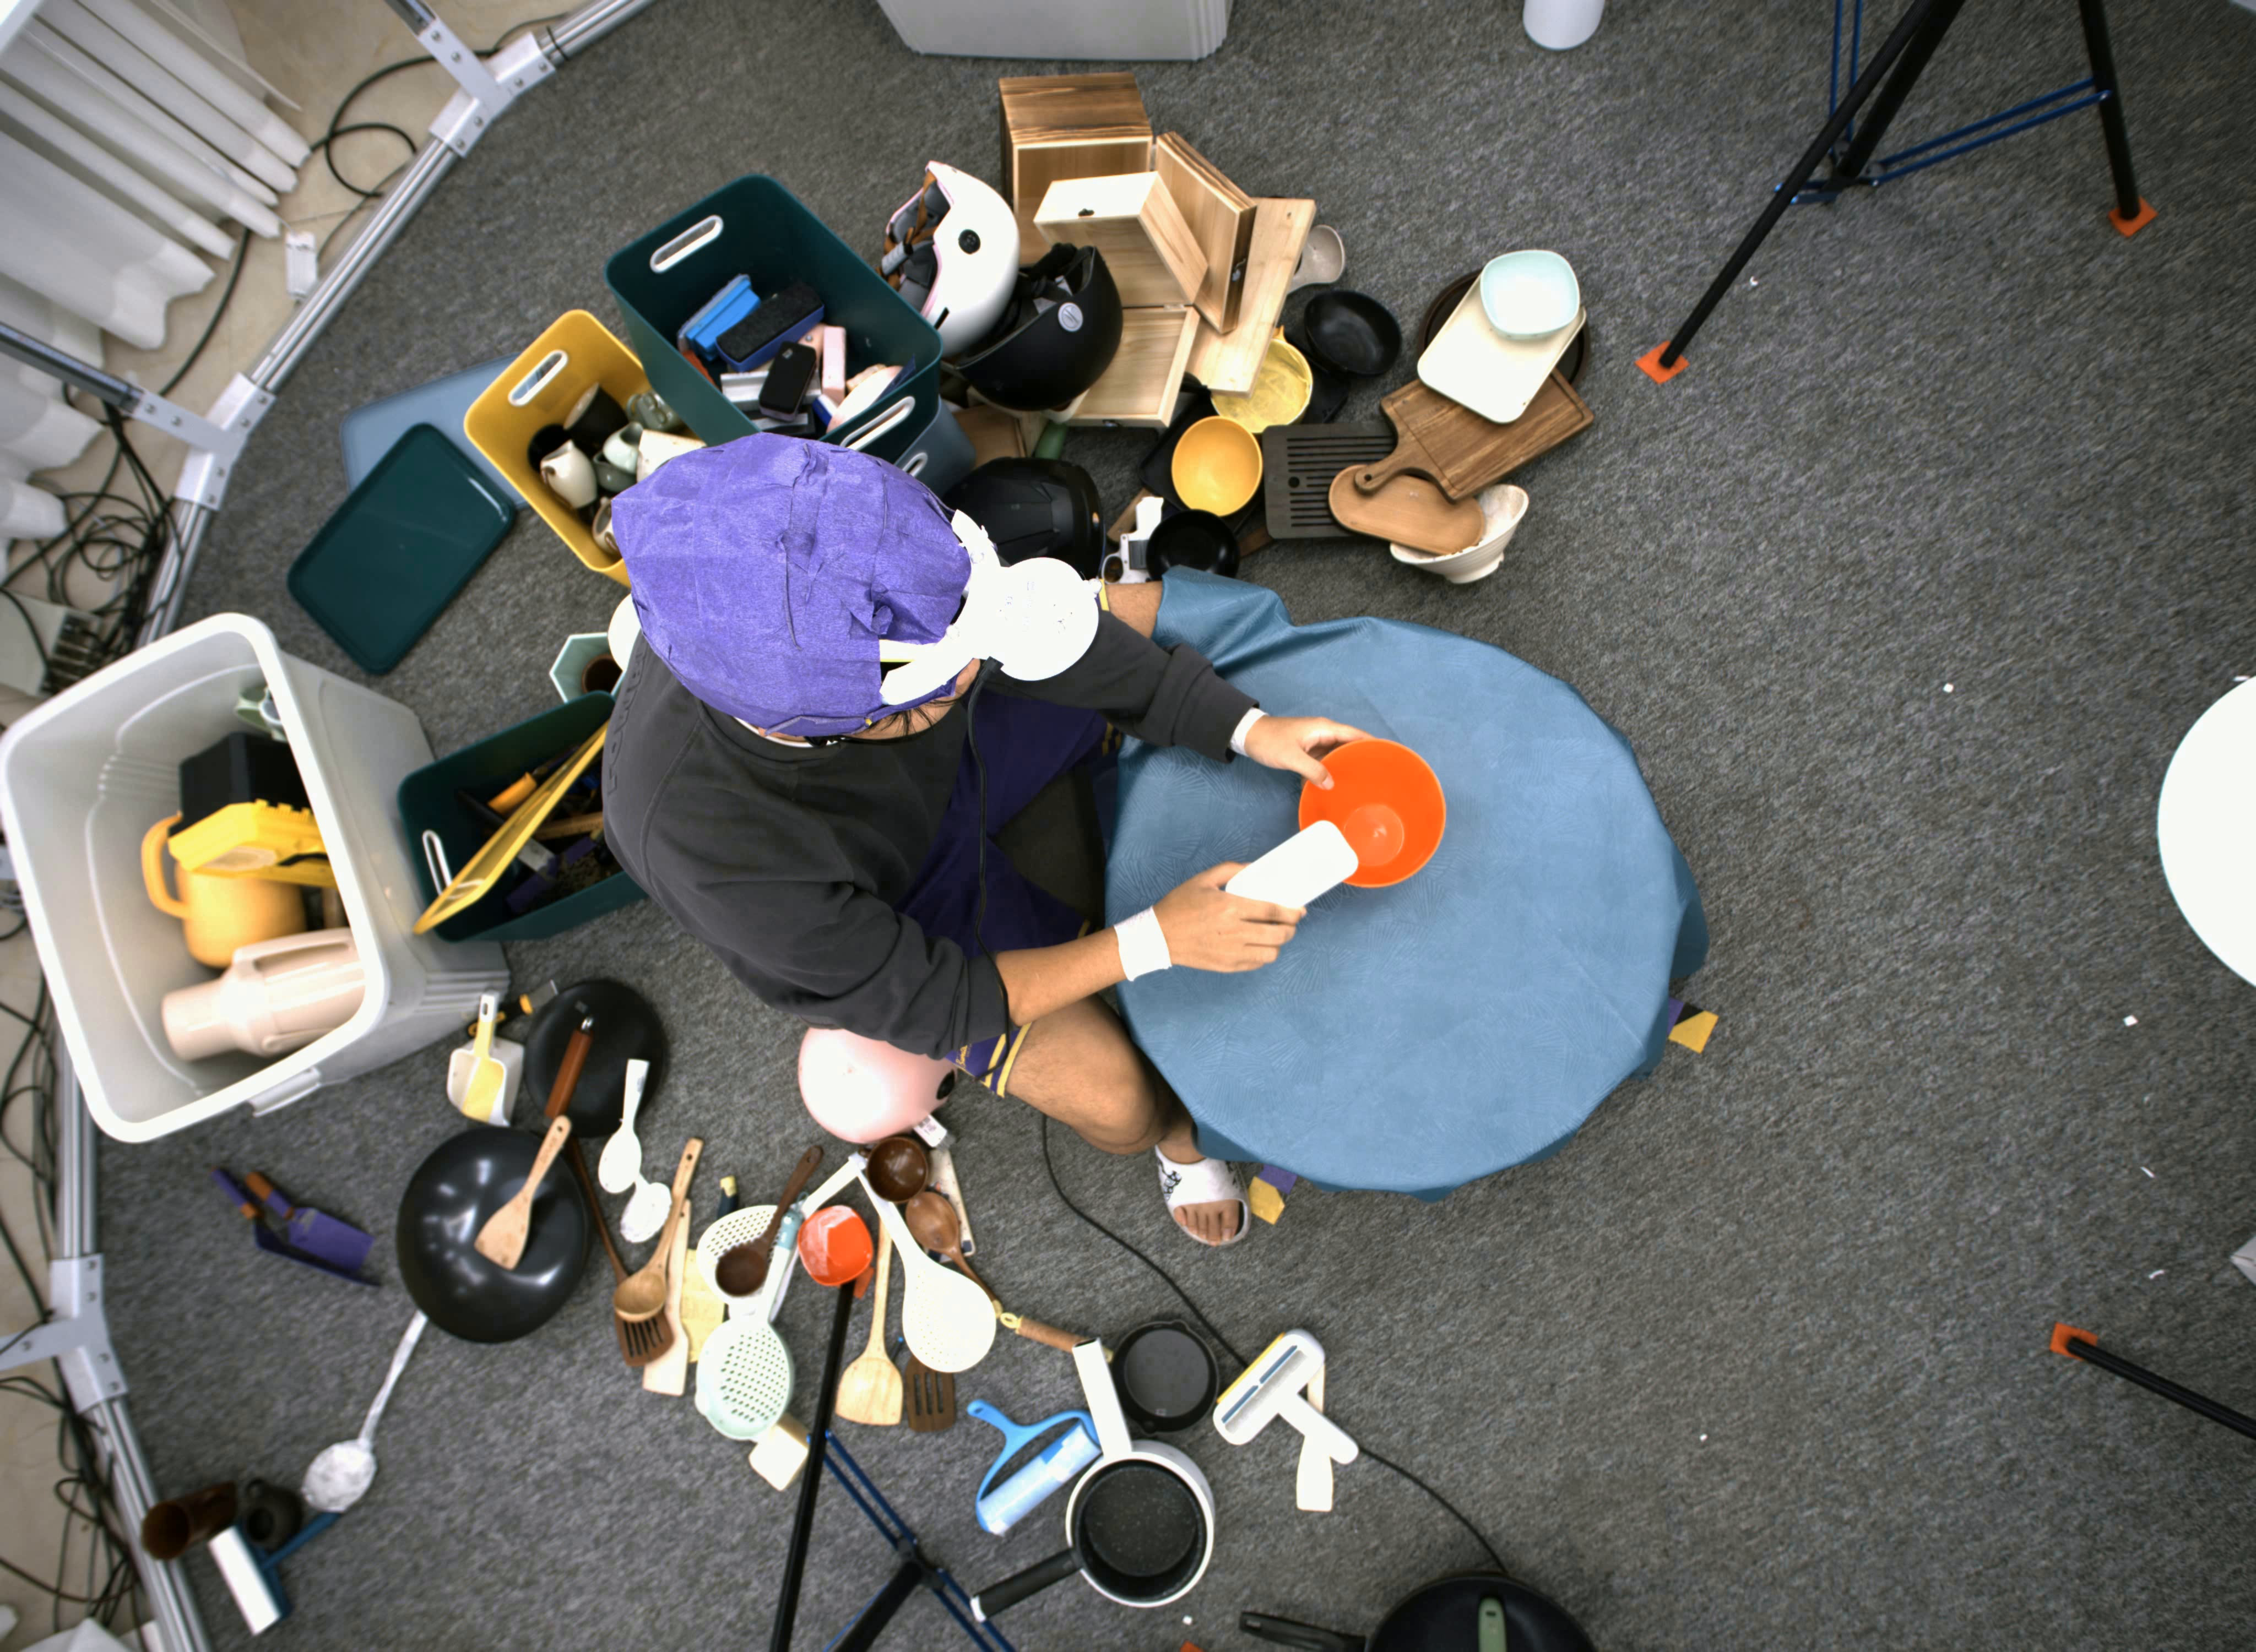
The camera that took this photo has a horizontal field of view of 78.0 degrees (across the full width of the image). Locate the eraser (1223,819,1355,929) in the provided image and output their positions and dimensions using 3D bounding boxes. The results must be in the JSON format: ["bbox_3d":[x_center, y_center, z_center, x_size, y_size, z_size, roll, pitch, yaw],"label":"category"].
[{"bbox_3d":[0.159,0.047,1.378,0.131,0.035,0.063,-32,75,-3],"label":"eraser"}]

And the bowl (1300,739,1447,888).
[{"bbox_3d":[0.254,-0.007,1.413,0.149,0.105,0.147,-2,82,17],"label":"bowl"}]
